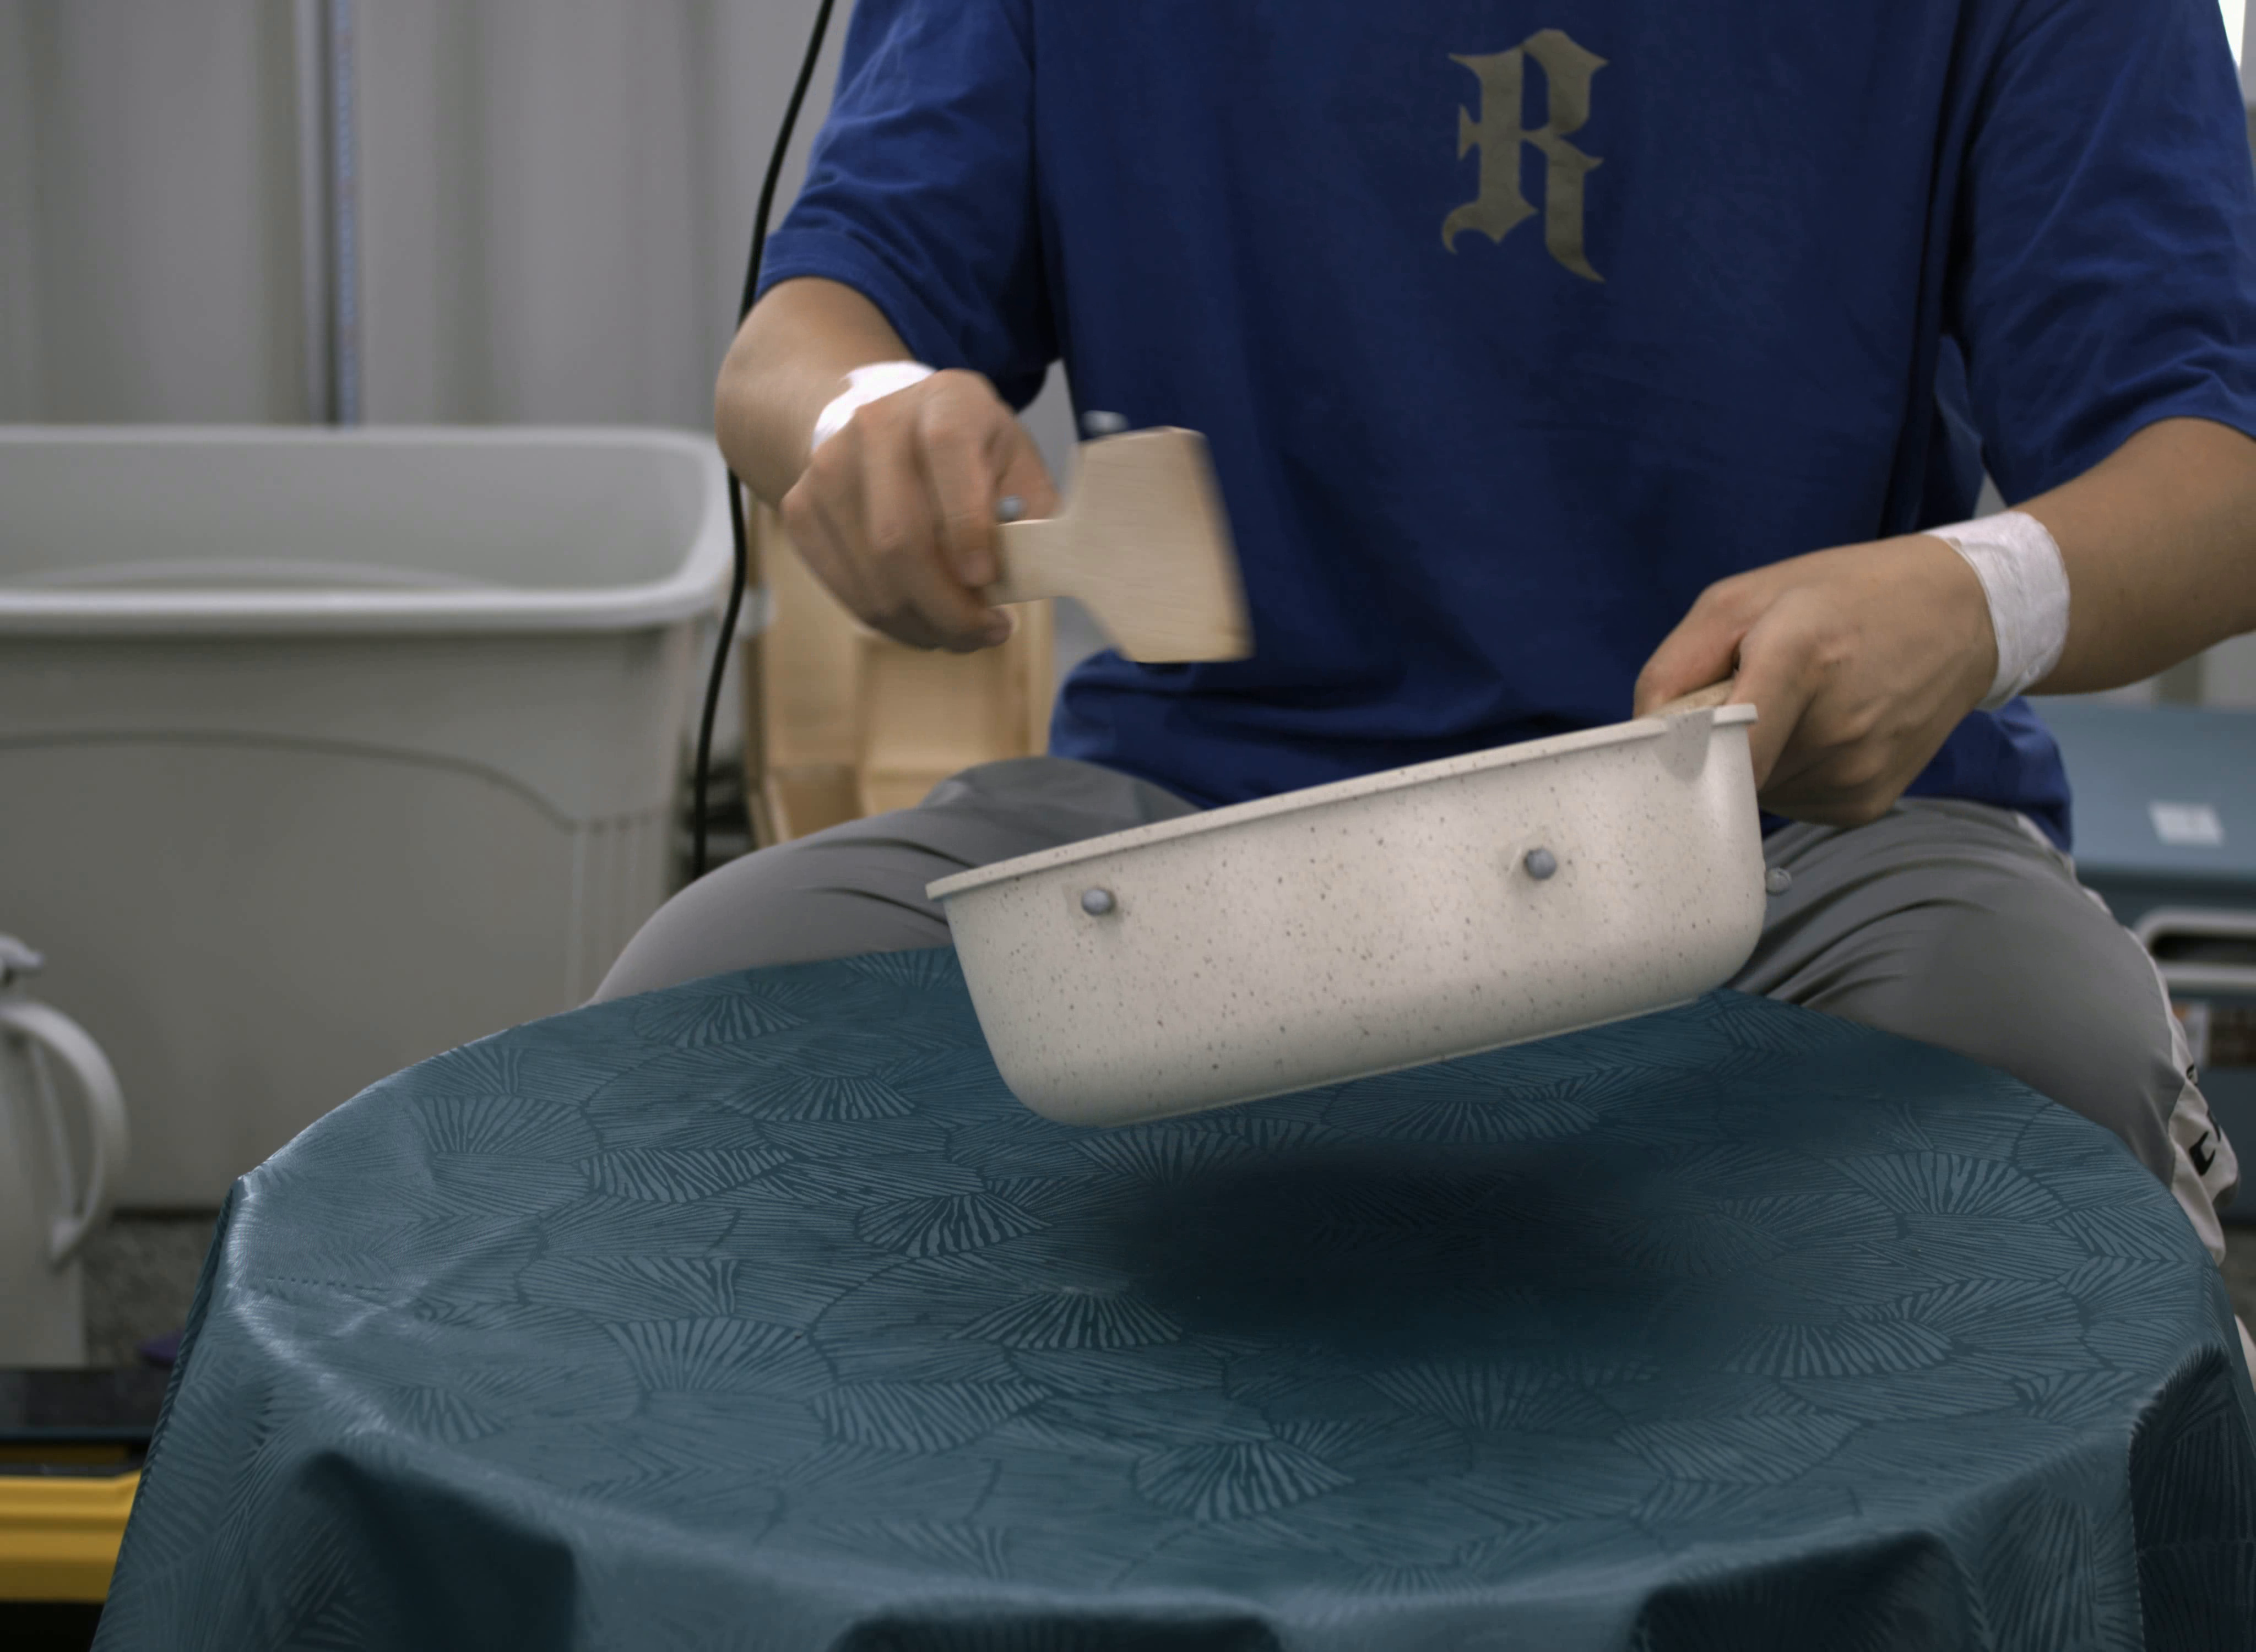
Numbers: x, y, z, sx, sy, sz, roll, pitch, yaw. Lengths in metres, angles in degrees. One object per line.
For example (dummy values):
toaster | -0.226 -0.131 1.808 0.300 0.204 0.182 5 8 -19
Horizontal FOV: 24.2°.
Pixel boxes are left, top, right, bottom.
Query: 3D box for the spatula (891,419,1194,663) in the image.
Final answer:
spatula | -0.035 -0.084 1.660 0.010 0.072 0.291 -17 5 -17

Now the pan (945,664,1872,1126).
pan | 0.129 0.013 1.625 0.261 0.102 0.437 -16 -4 36
